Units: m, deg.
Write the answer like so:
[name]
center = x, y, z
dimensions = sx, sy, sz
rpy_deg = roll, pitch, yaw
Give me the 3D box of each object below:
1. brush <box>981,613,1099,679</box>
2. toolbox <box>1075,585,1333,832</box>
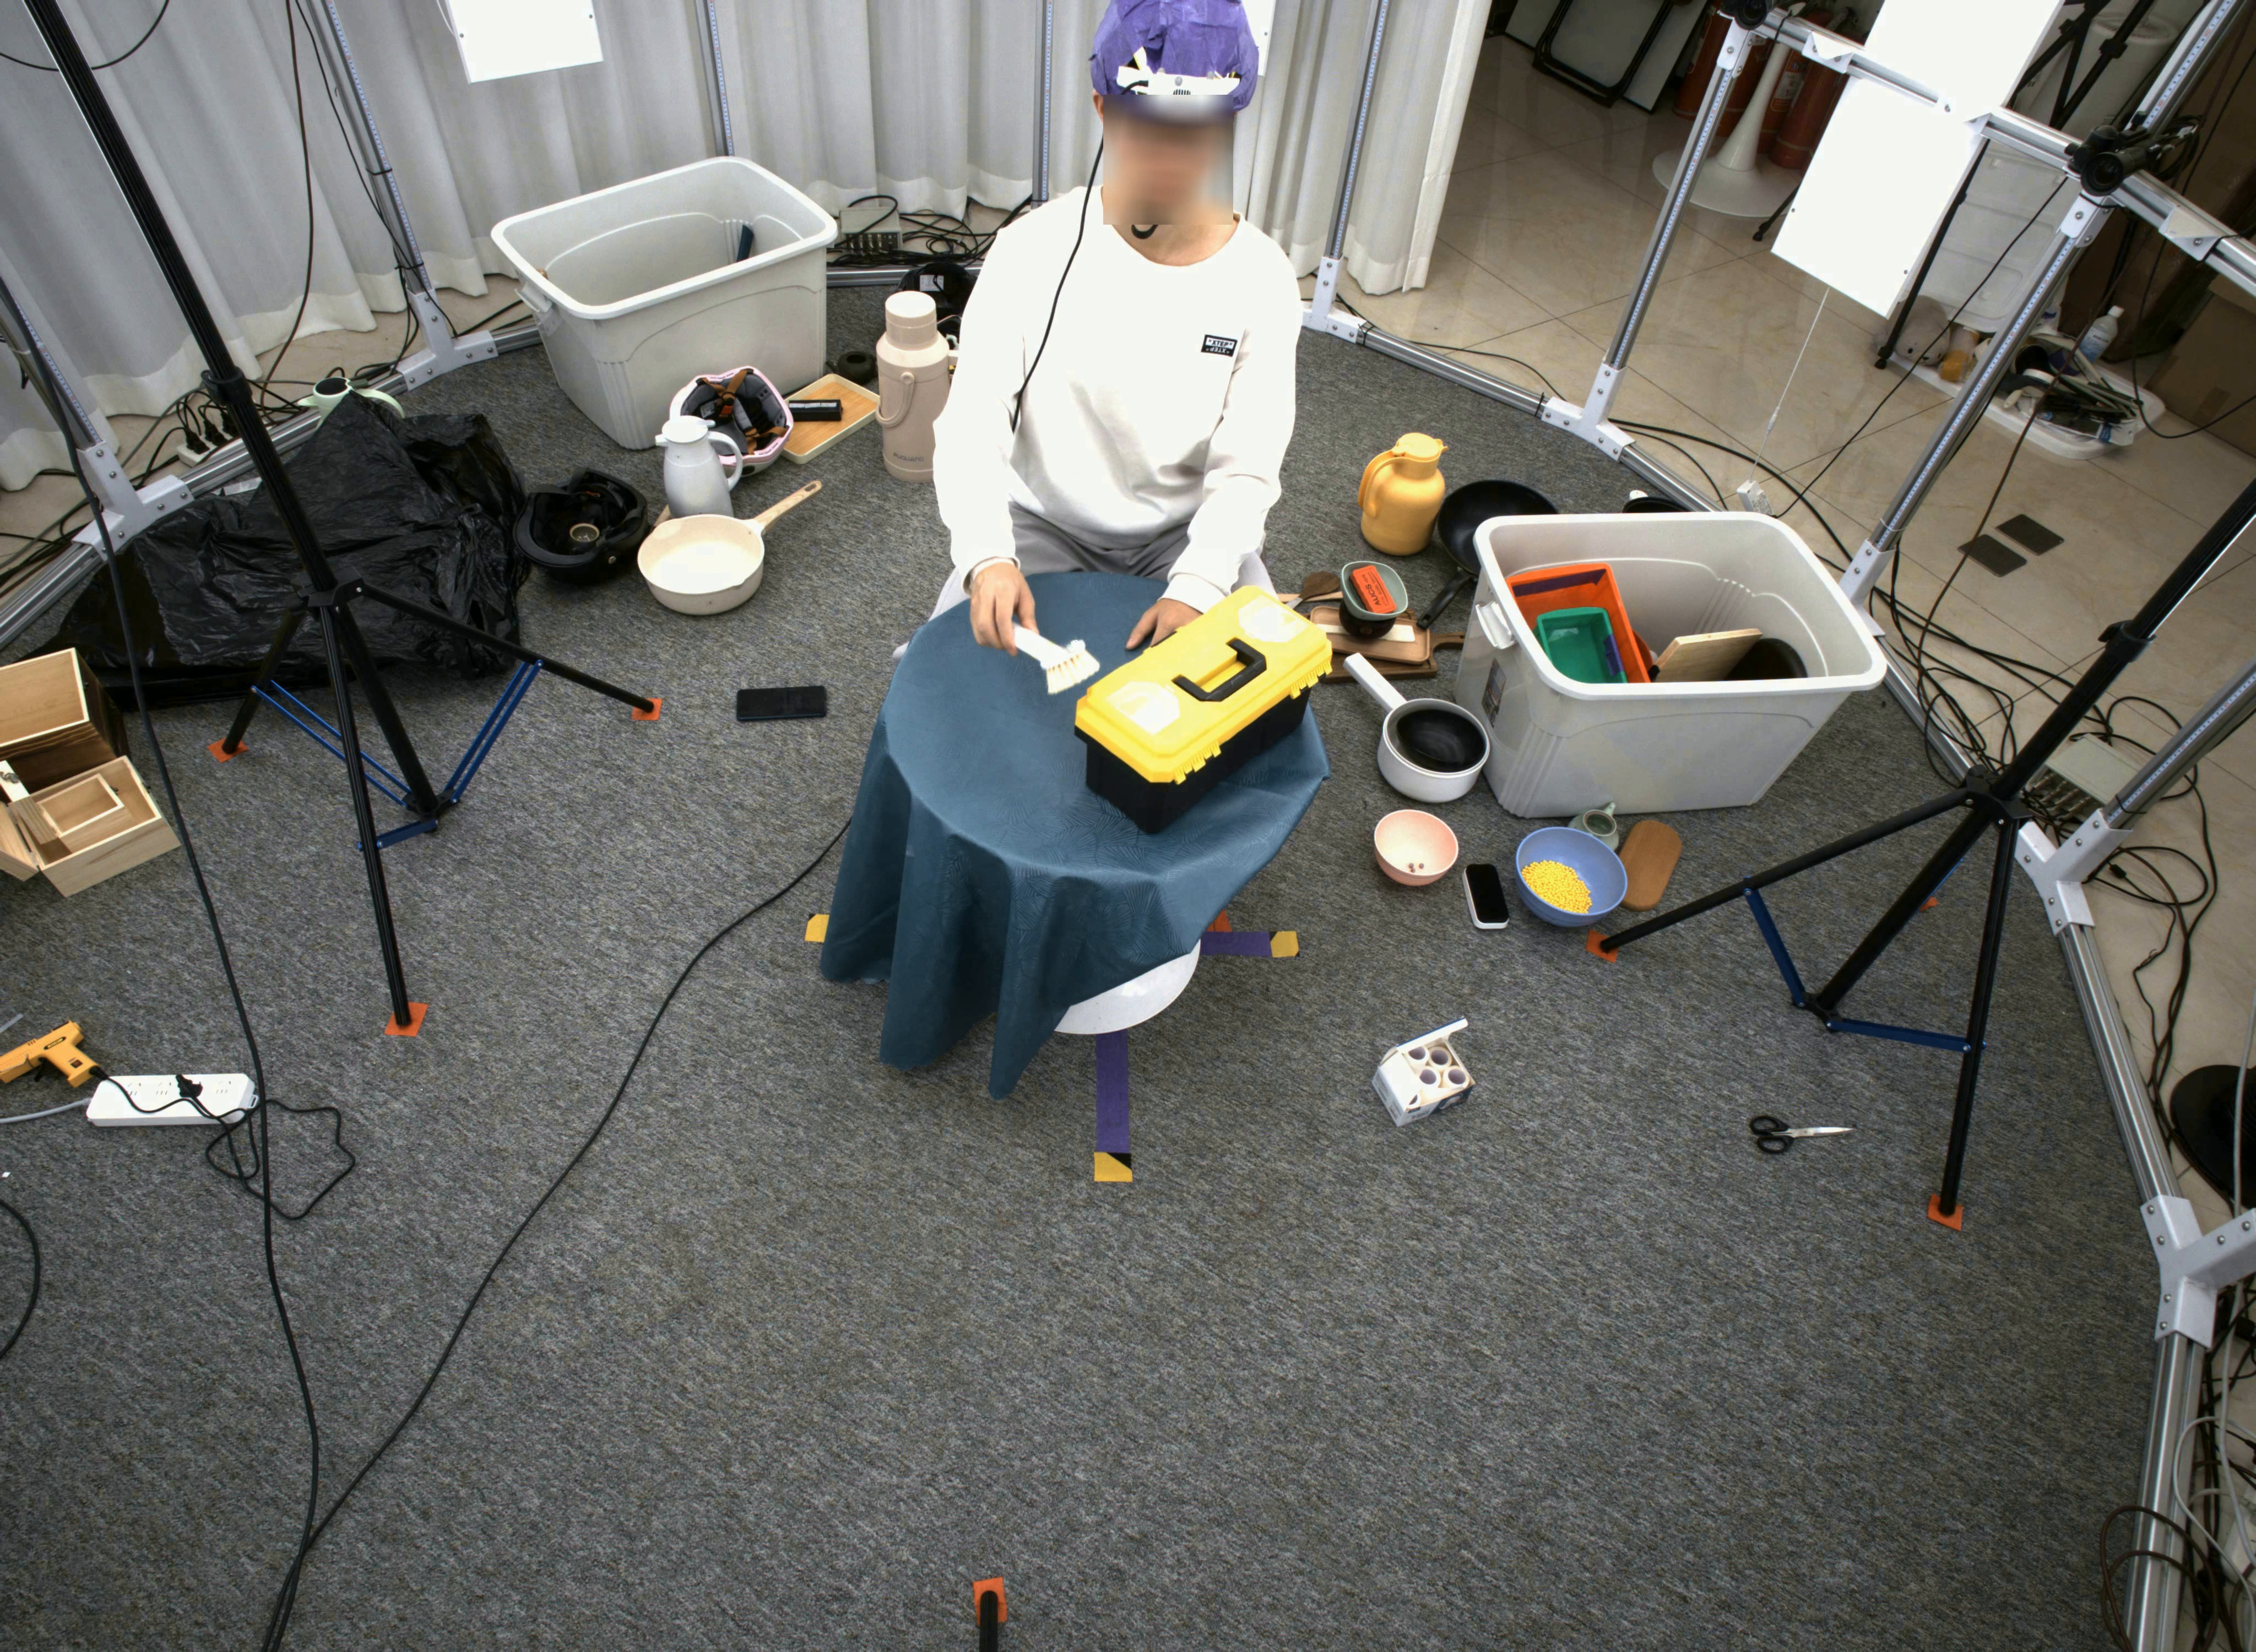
[brush]
center = -0.120, -0.230, 1.640
dimensions = 0.068, 0.055, 0.270
rpy_deg = -18, 22, -25
[toolbox]
center = 0.098, -0.157, 1.696
dimensions = 0.184, 0.169, 0.355
rpy_deg = 39, 56, 24
